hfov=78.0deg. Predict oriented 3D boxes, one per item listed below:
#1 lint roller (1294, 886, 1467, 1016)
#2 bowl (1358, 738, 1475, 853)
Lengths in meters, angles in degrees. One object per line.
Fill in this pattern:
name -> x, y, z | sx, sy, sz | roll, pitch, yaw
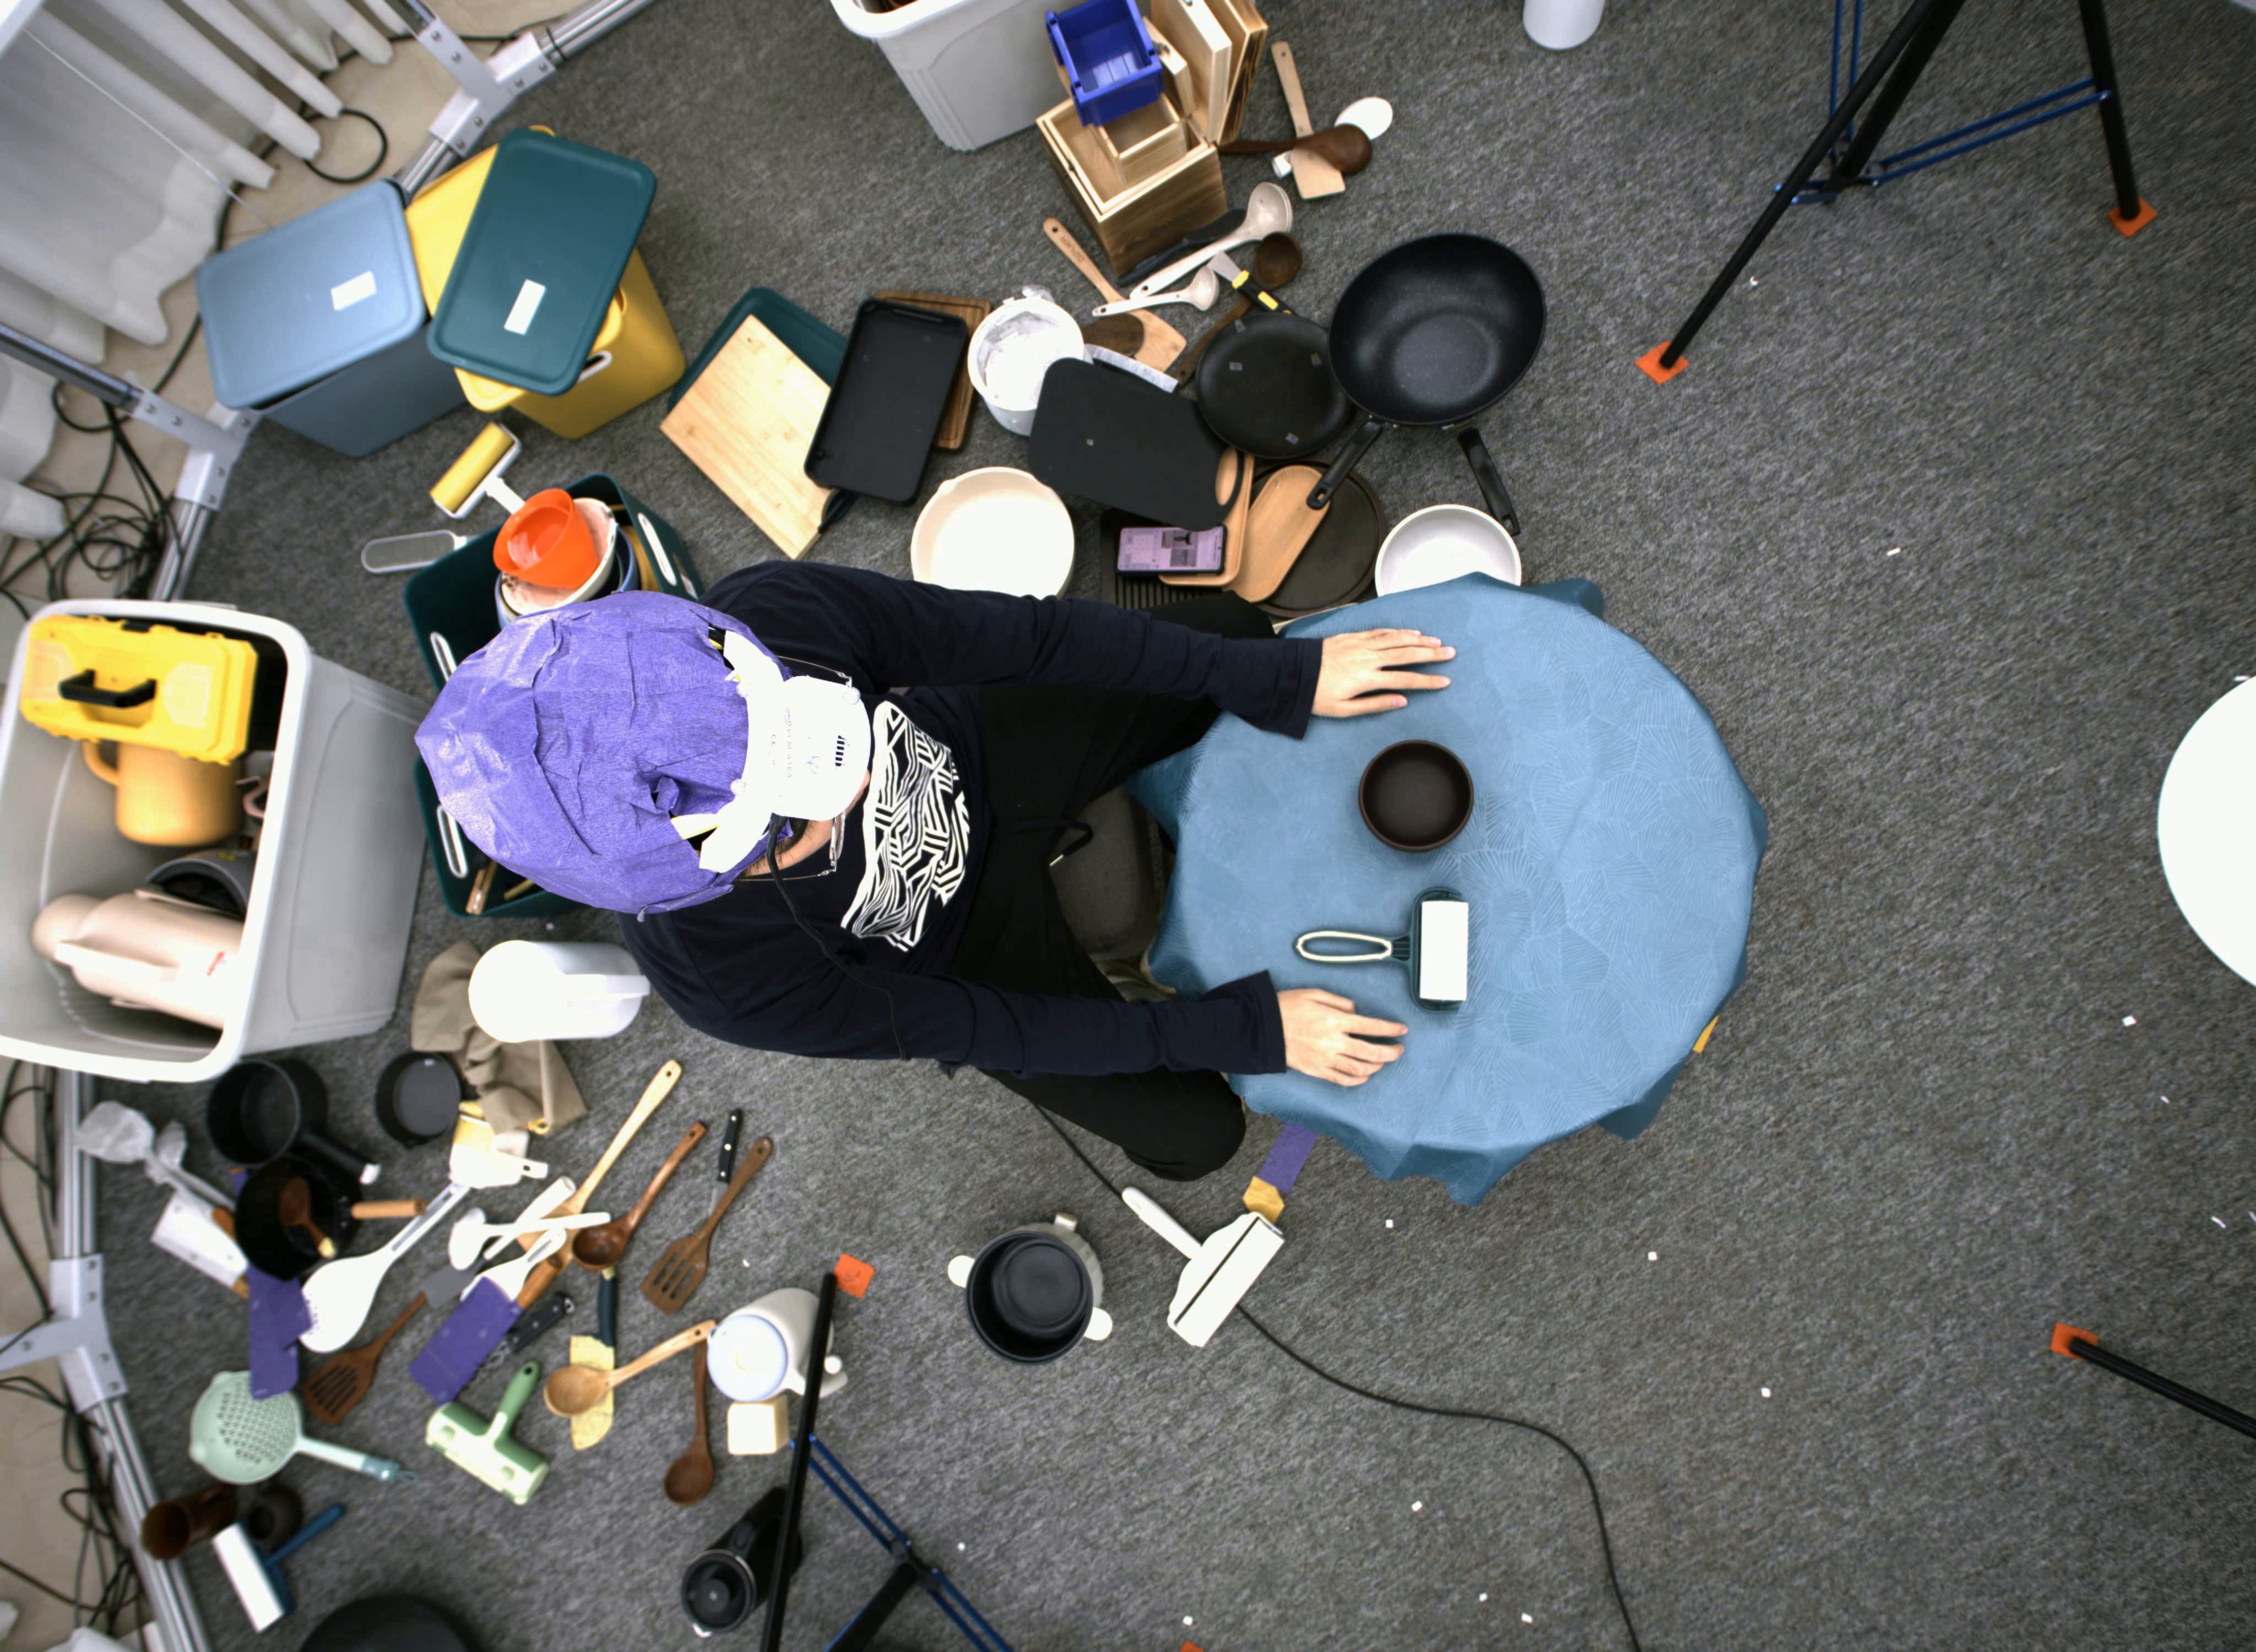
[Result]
lint roller -> 0.261, 0.127, 1.439 | 0.181, 0.048, 0.134 | 1, 87, 14
bowl -> 0.298, -0.031, 1.424 | 0.118, 0.070, 0.118 | -1, 88, 13
